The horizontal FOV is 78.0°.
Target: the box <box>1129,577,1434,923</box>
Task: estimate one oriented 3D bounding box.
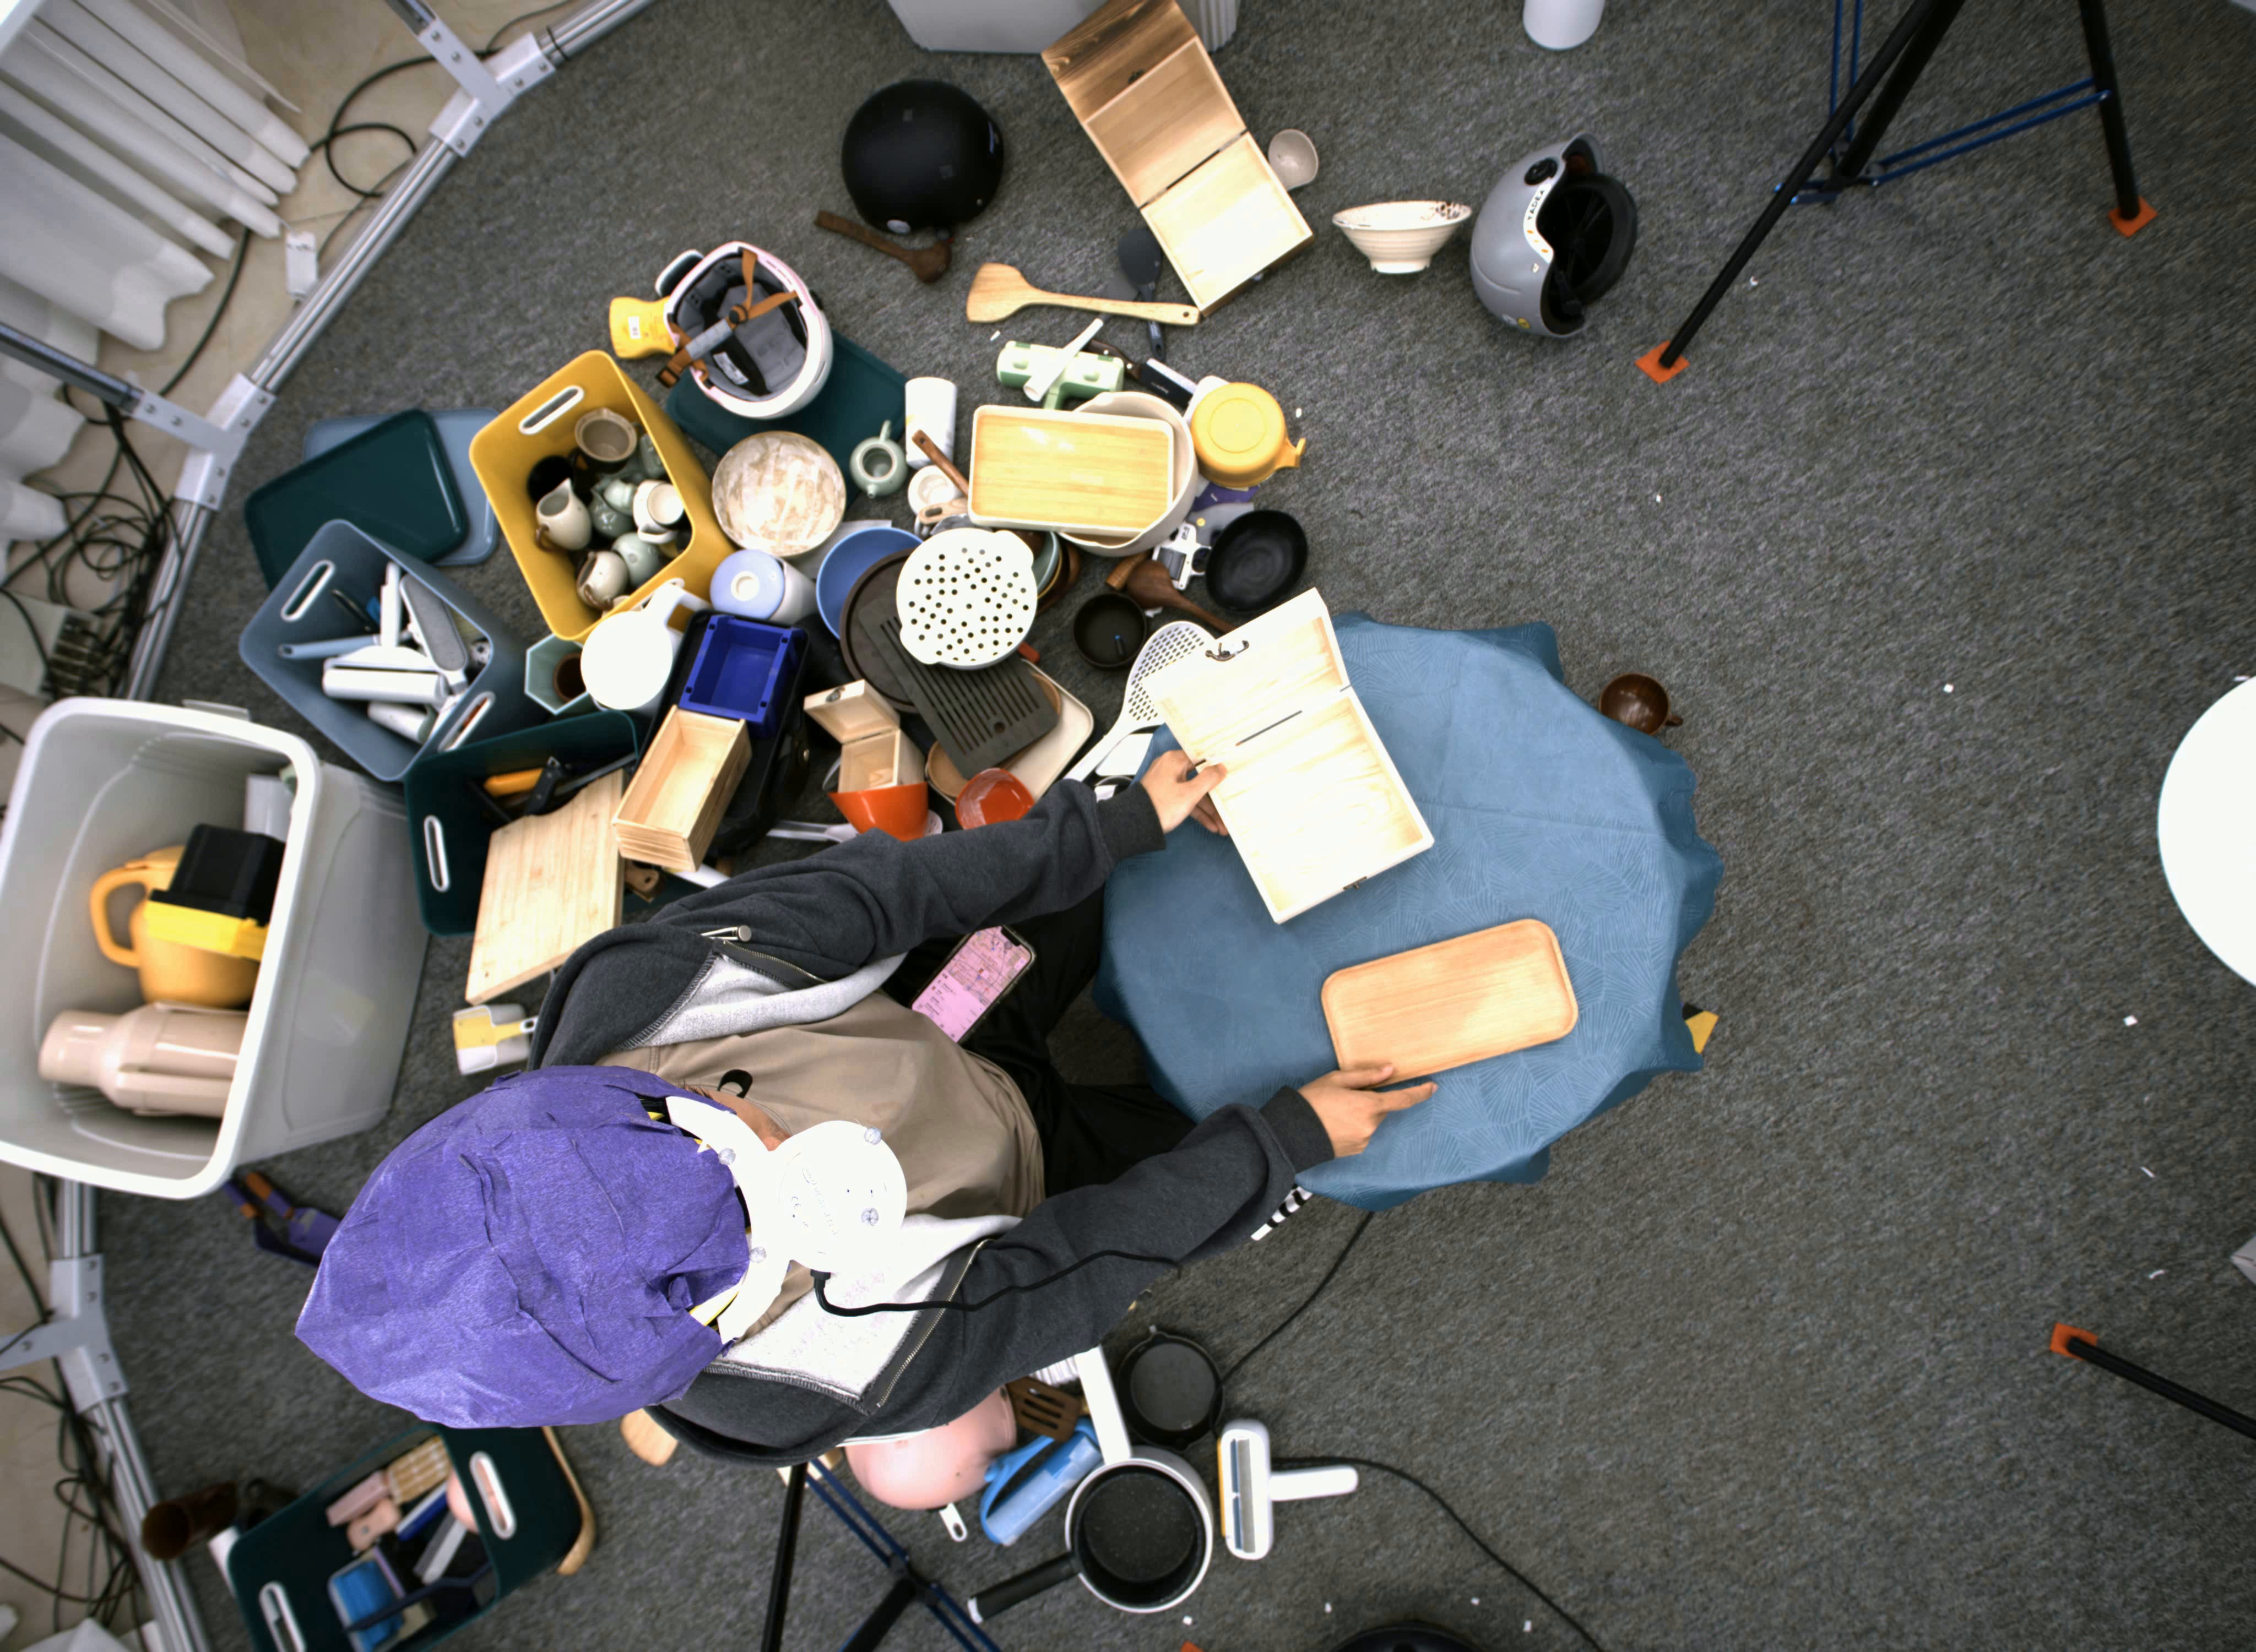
[{"bbox_3d":[0.162,-0.060,1.362,0.183,0.253,0.263,-29,80,9],"label":"box"}]

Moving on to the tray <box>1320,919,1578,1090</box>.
[{"bbox_3d":[0.331,0.184,1.431,0.252,0.023,0.129,-16,80,9],"label":"tray"}]
